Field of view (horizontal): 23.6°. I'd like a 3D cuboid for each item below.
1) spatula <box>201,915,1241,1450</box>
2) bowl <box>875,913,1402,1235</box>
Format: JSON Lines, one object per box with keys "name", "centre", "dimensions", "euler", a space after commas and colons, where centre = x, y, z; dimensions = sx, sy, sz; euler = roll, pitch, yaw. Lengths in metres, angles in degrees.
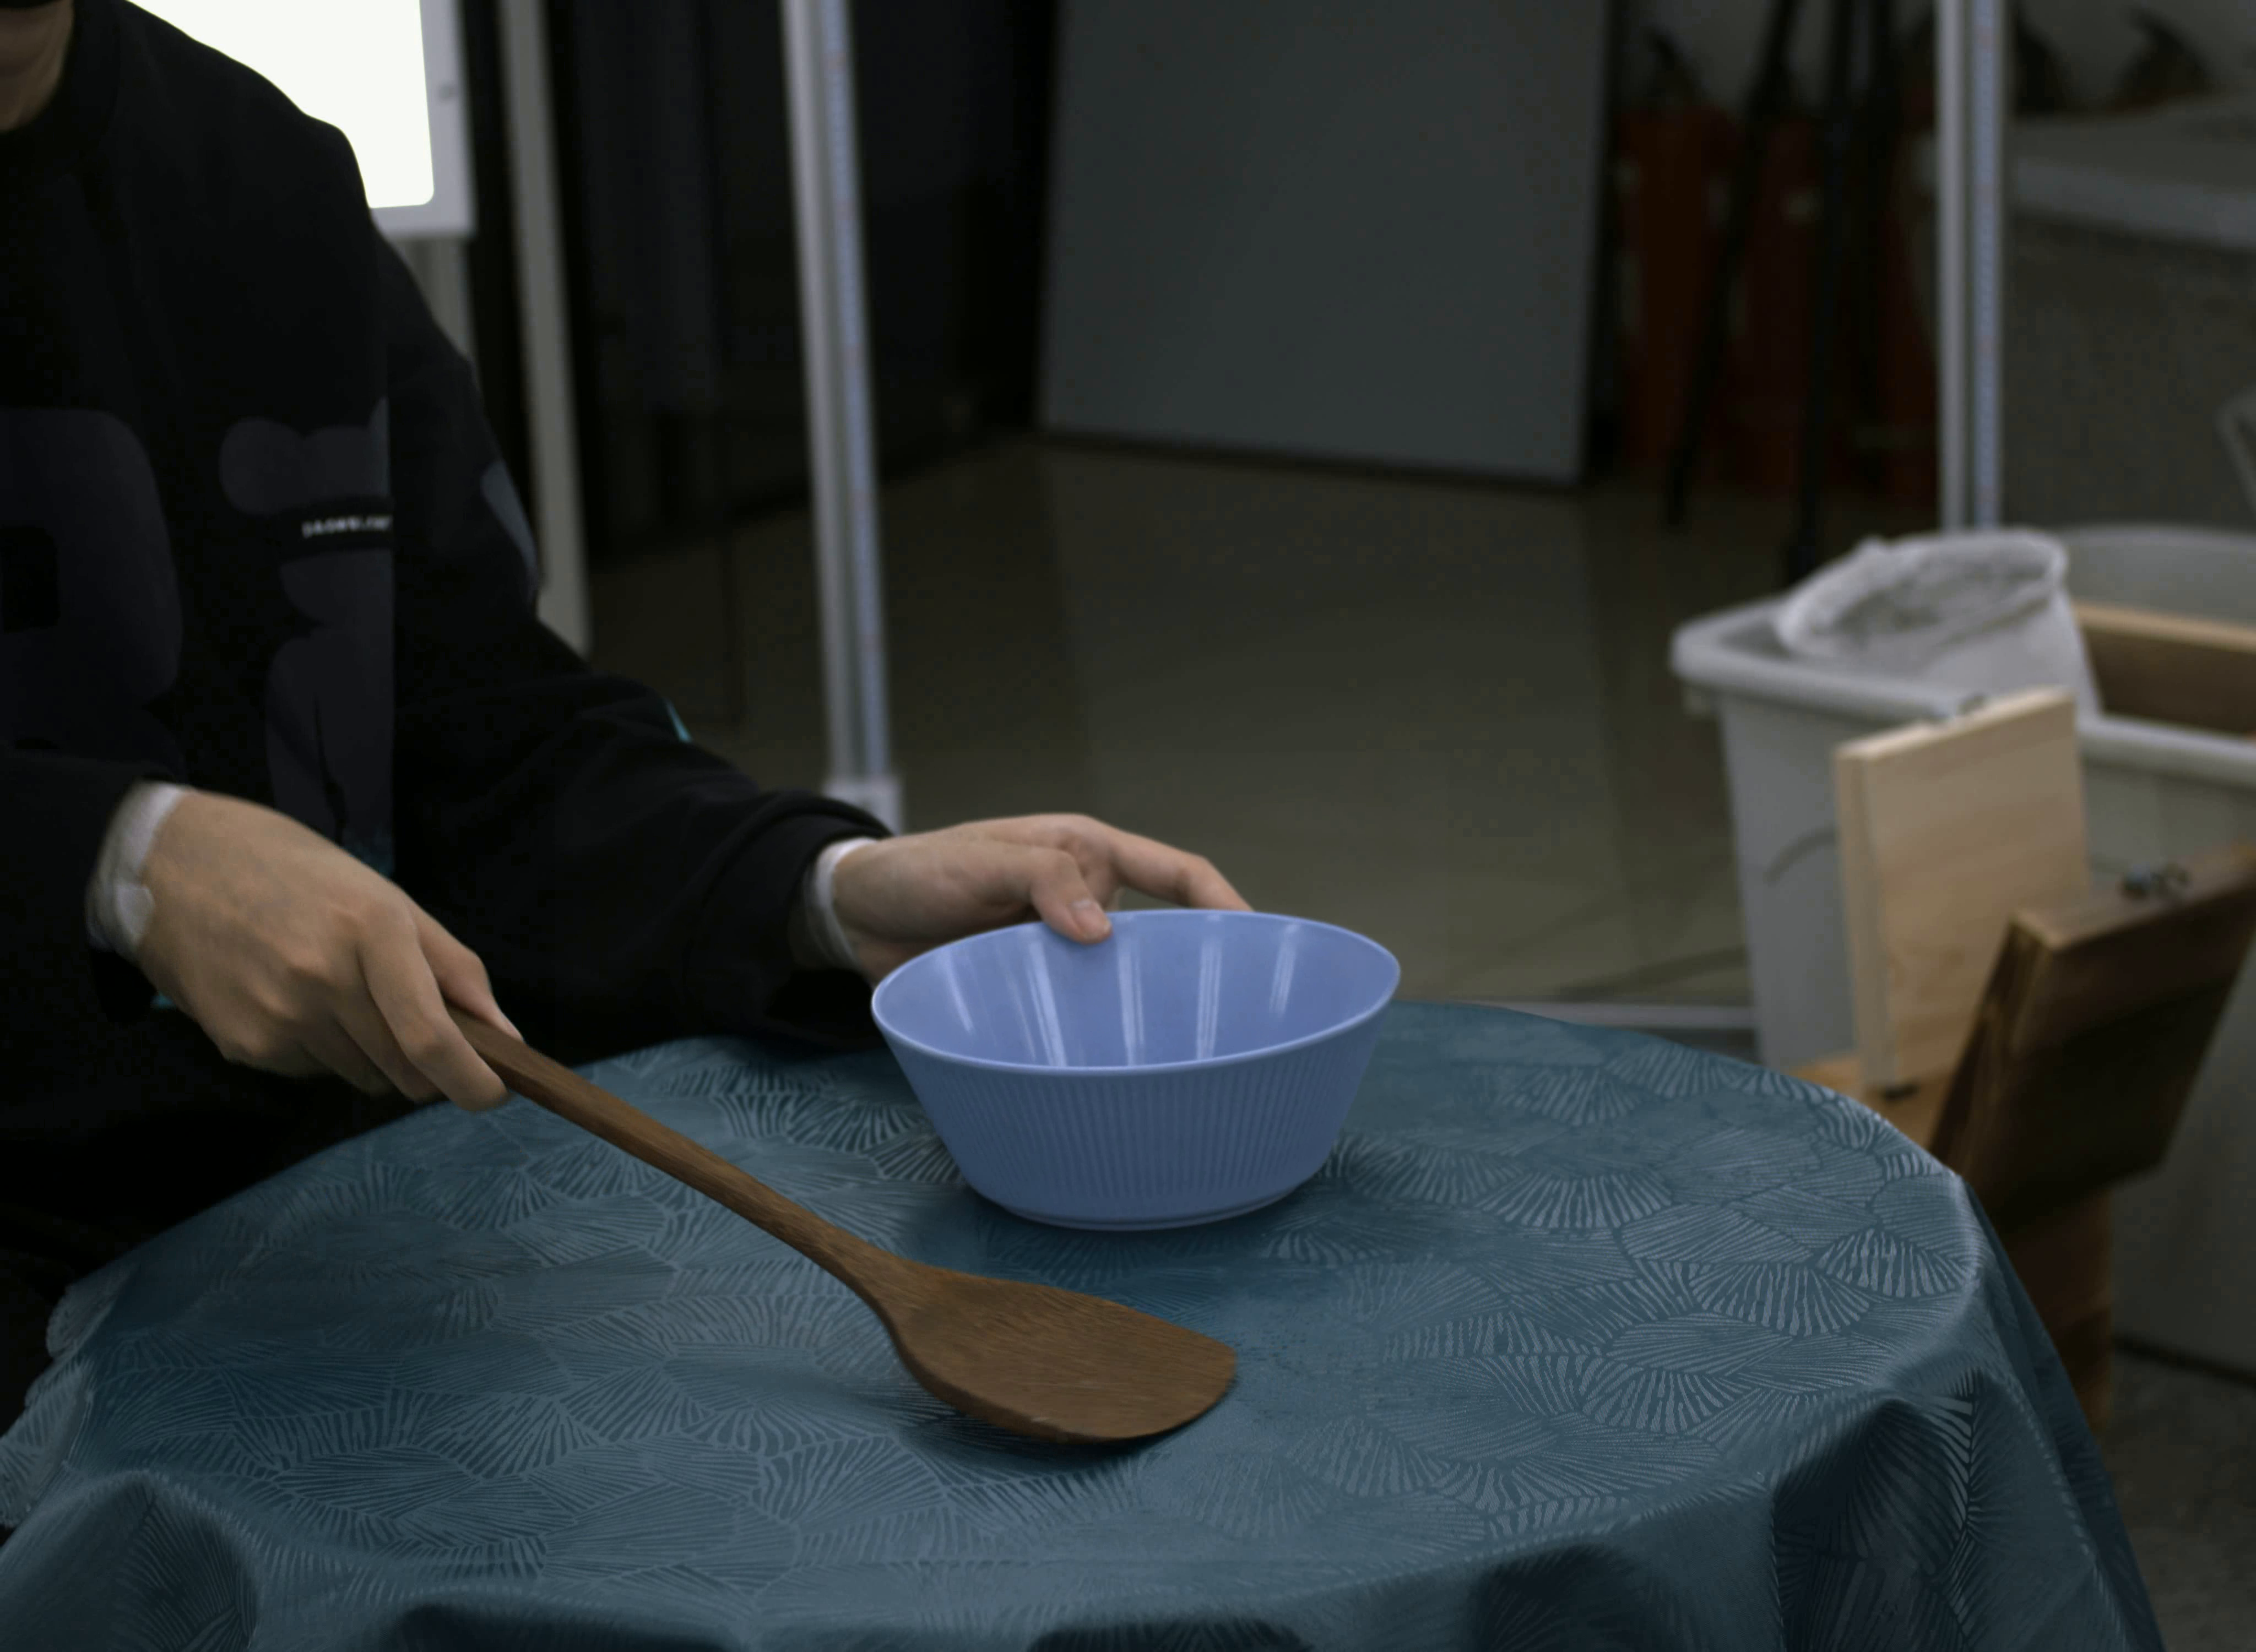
{"name": "spatula", "centre": [-0.136, 0.102, 1.643], "dimensions": [0.388, 0.016, 0.094], "euler": [25, 23, 27]}
{"name": "bowl", "centre": [0.006, 0.084, 1.771], "dimensions": [0.174, 0.071, 0.176], "euler": [-5, 14, 0]}
